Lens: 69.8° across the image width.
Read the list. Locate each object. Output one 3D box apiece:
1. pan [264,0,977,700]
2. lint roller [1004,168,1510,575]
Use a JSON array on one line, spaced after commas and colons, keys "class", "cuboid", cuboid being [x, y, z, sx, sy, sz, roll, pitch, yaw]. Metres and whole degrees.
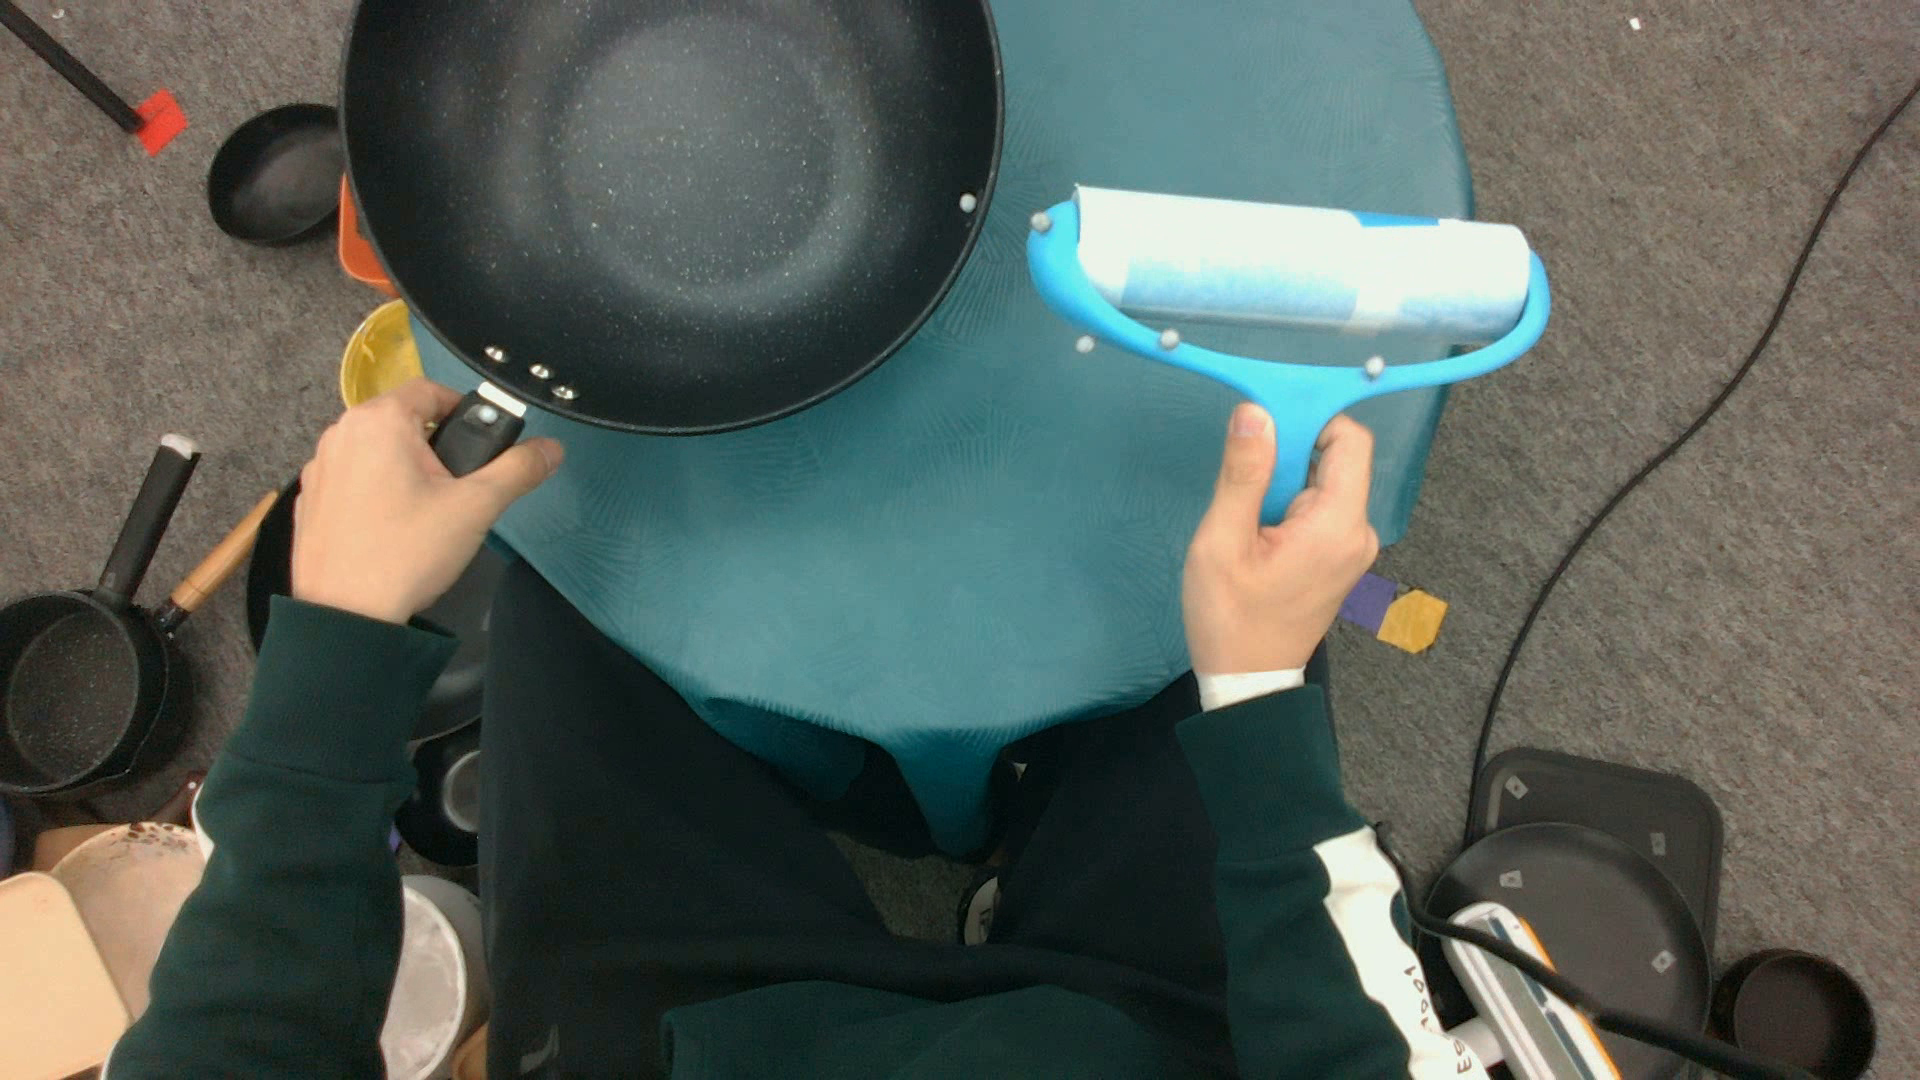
[{"class": "pan", "cuboid": [-0.187, -0.138, 0.673, 0.310, 0.111, 0.477, 28, 87, 1]}, {"class": "lint roller", "cuboid": [0.134, -0.073, 0.614, 0.229, 0.068, 0.180, -1, 90, -9]}]
